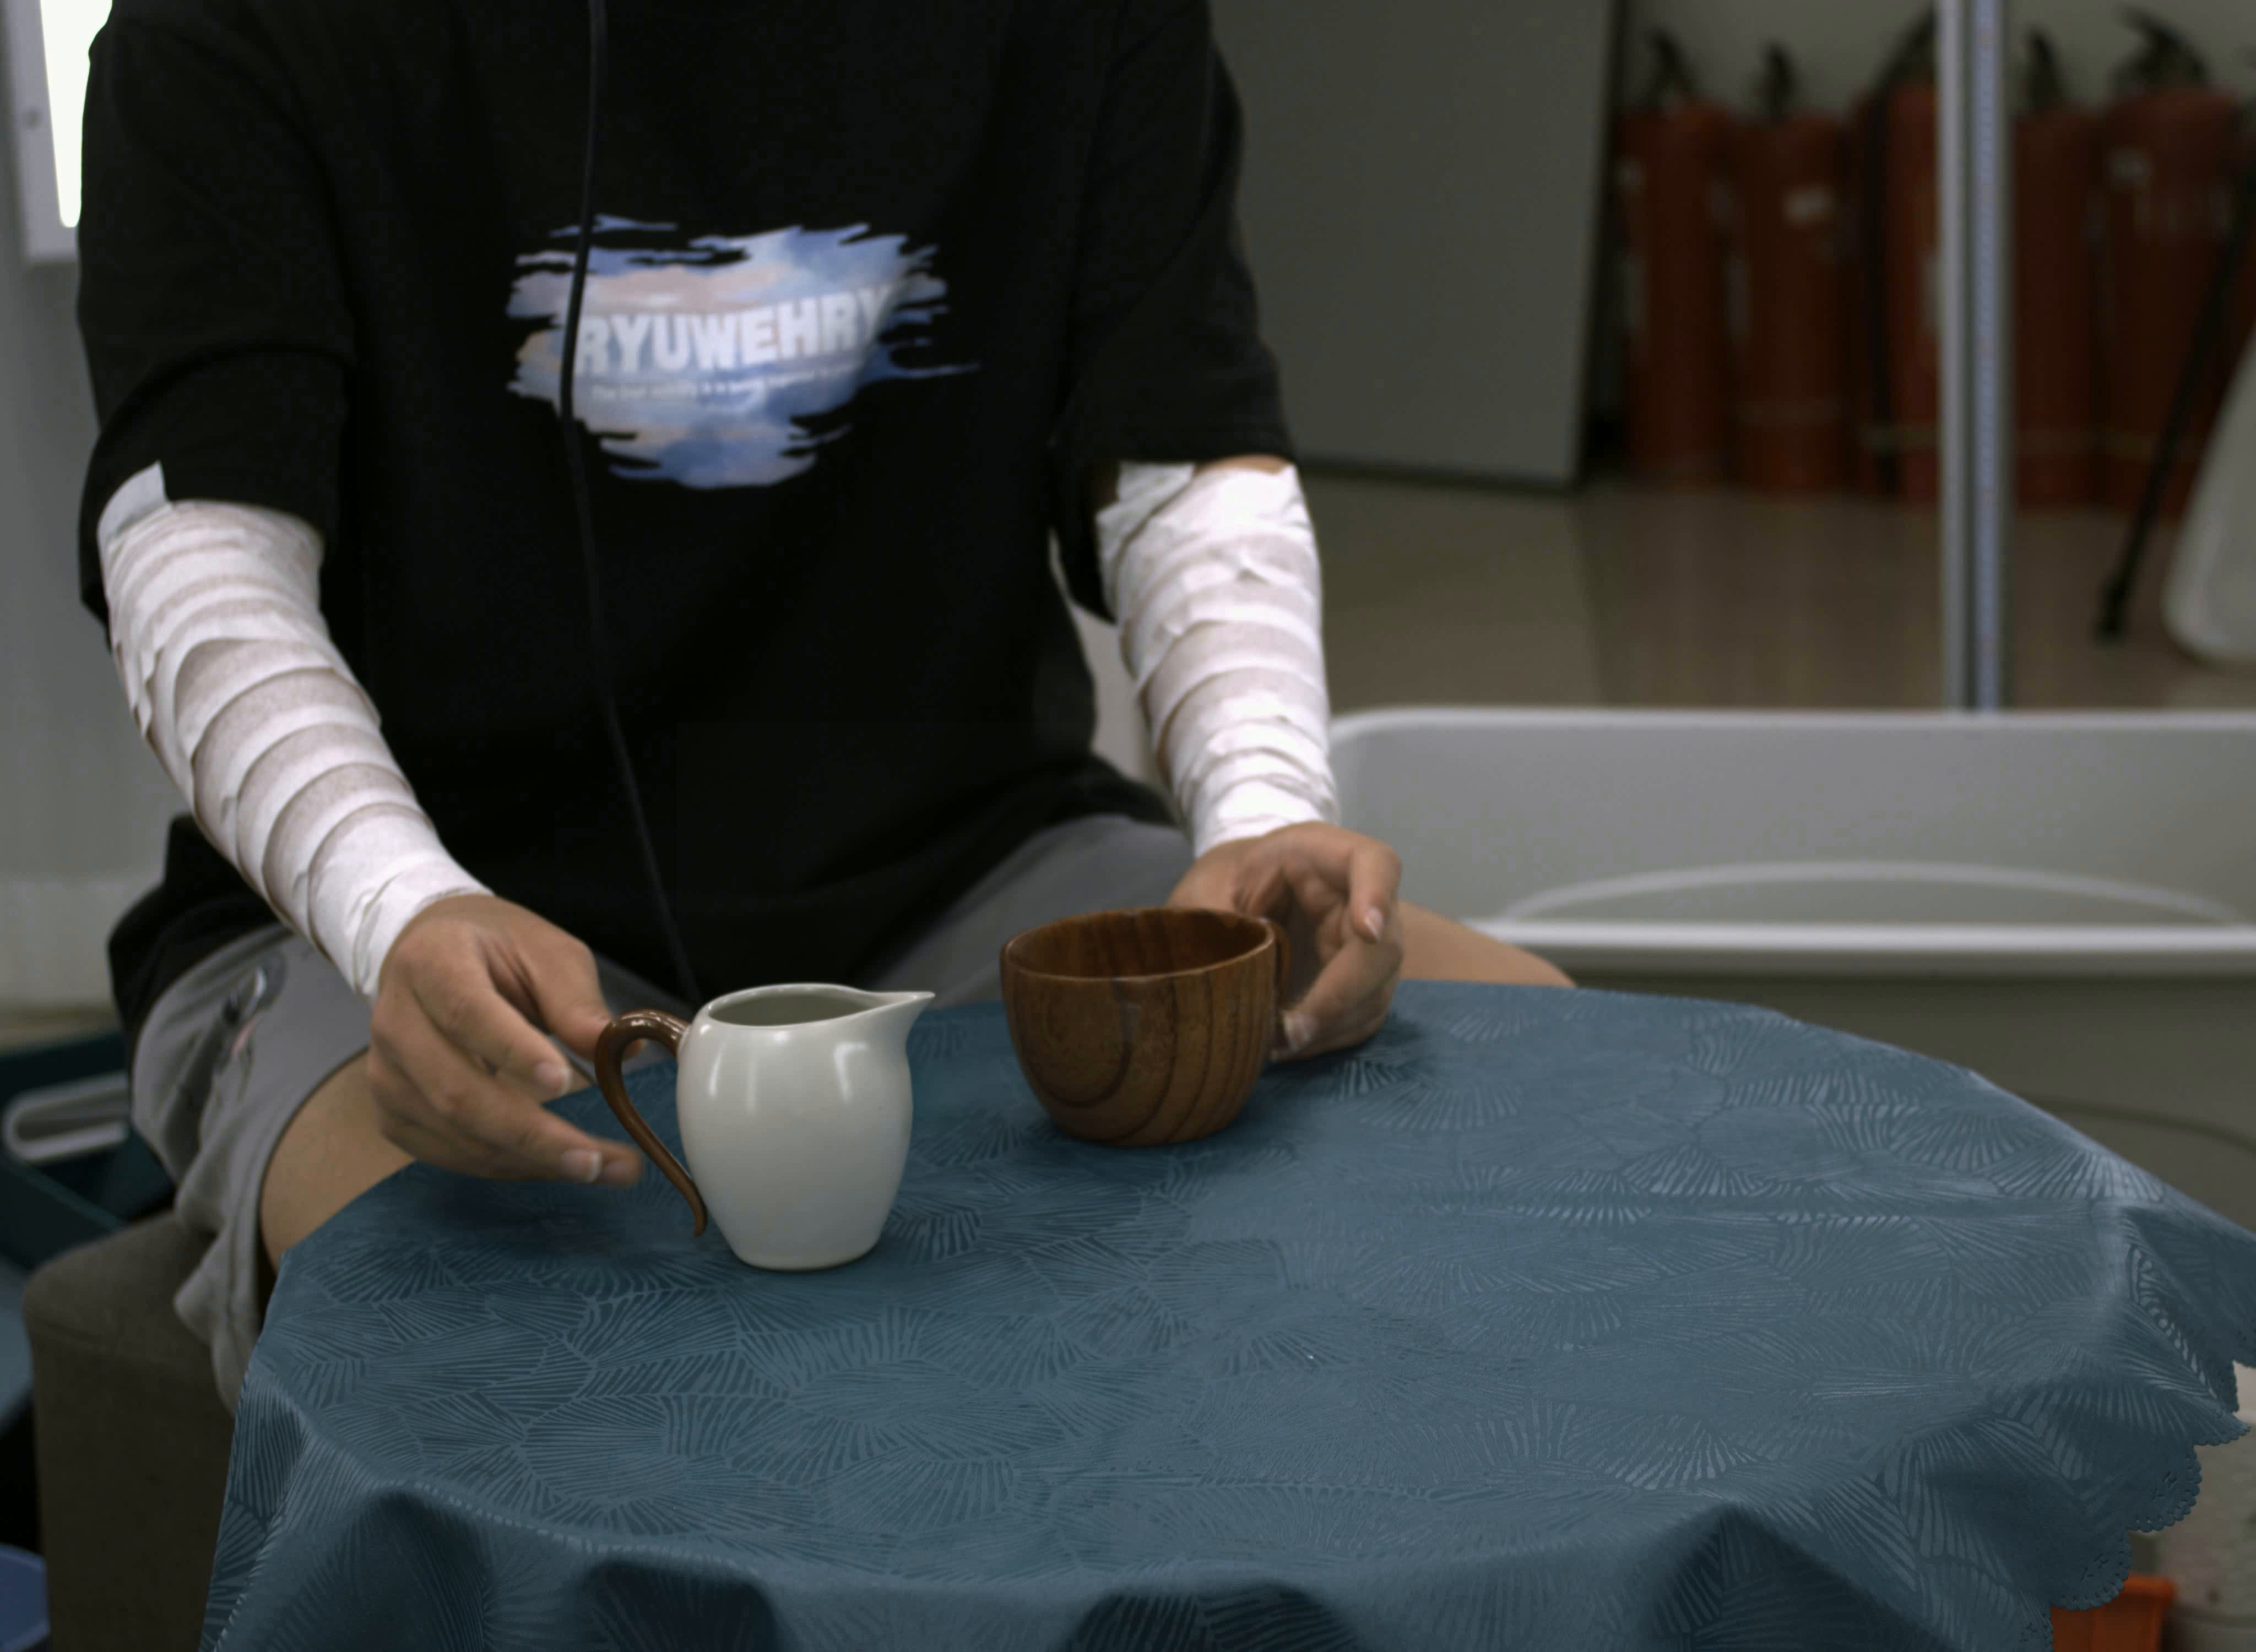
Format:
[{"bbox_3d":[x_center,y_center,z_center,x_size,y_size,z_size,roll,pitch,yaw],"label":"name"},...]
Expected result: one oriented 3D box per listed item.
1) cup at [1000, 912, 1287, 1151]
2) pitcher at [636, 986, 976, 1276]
[{"bbox_3d":[0.015,0.069,1.847,0.117,0.068,0.097,-14,13,-42],"label":"cup"},{"bbox_3d":[-0.104,0.094,1.724,0.119,0.089,0.075,6,10,22],"label":"pitcher"}]
